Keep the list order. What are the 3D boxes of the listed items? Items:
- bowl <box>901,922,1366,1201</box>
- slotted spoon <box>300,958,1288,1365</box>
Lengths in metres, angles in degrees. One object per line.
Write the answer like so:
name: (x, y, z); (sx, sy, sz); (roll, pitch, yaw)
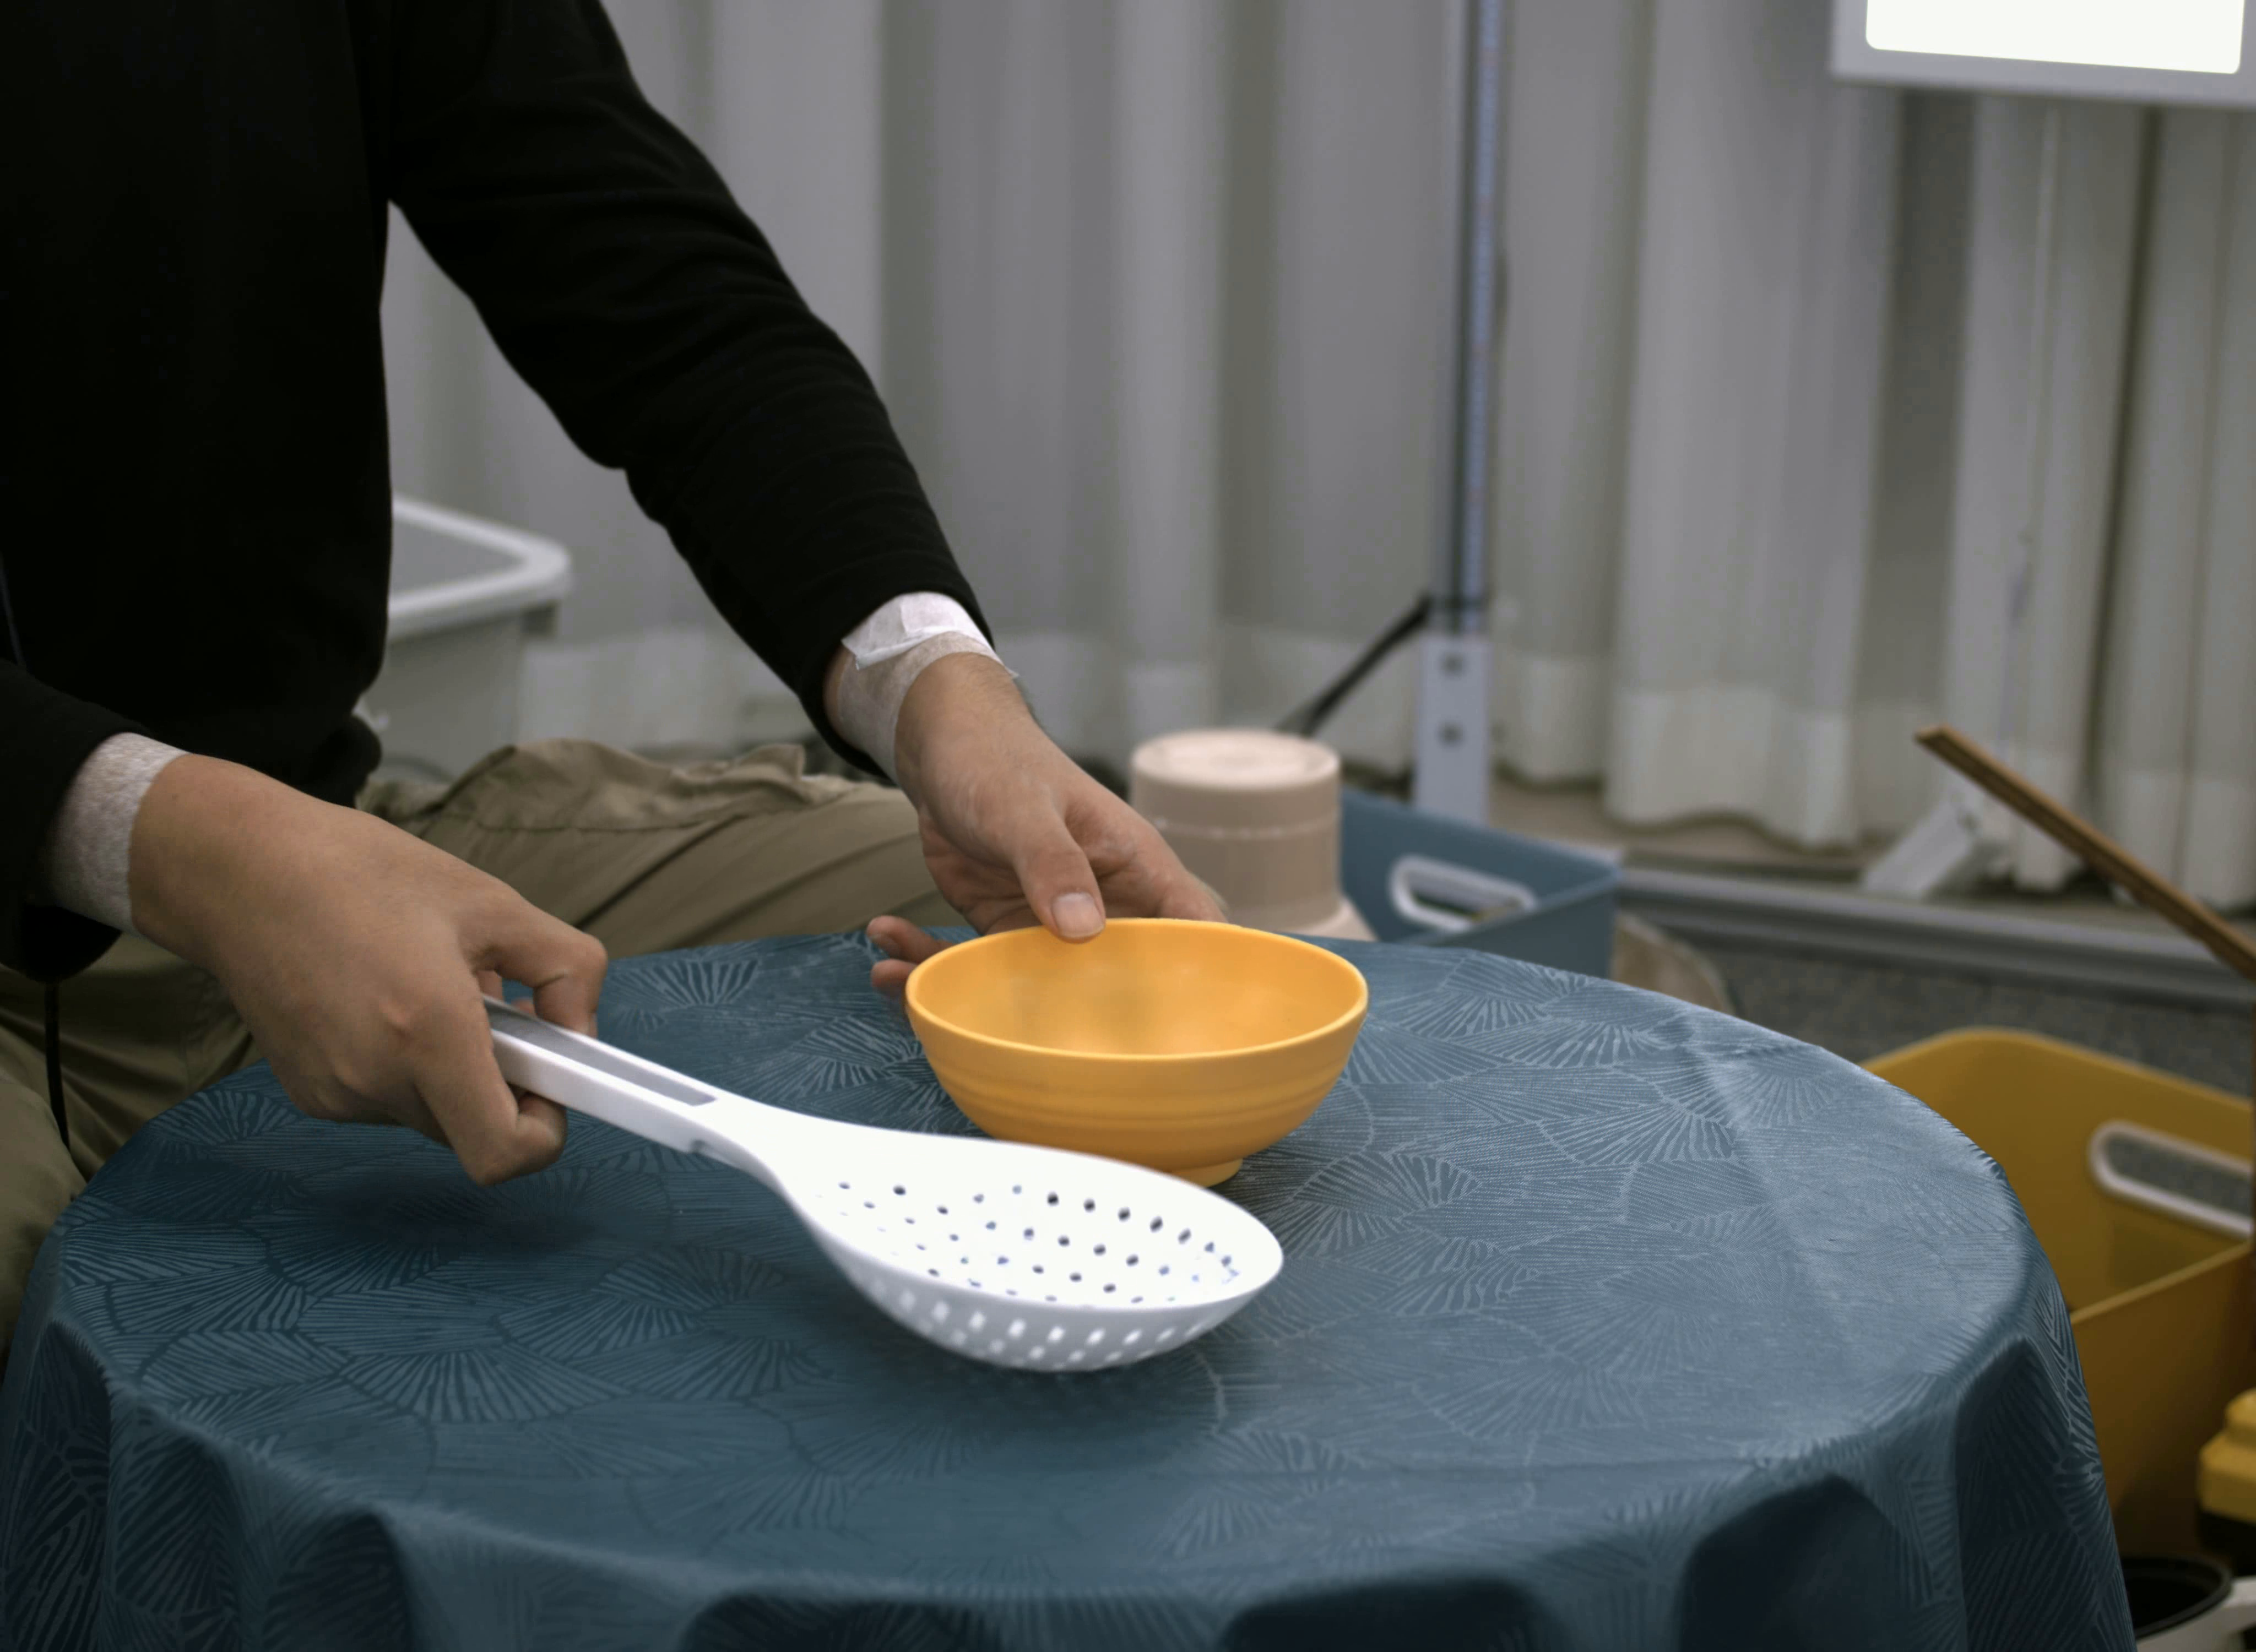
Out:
bowl: (0.001, 0.078, 1.639); (0.145, 0.060, 0.144); (3, 15, 0)
slotted spoon: (-0.110, 0.090, 1.533); (0.345, 0.046, 0.137); (22, 15, 31)
